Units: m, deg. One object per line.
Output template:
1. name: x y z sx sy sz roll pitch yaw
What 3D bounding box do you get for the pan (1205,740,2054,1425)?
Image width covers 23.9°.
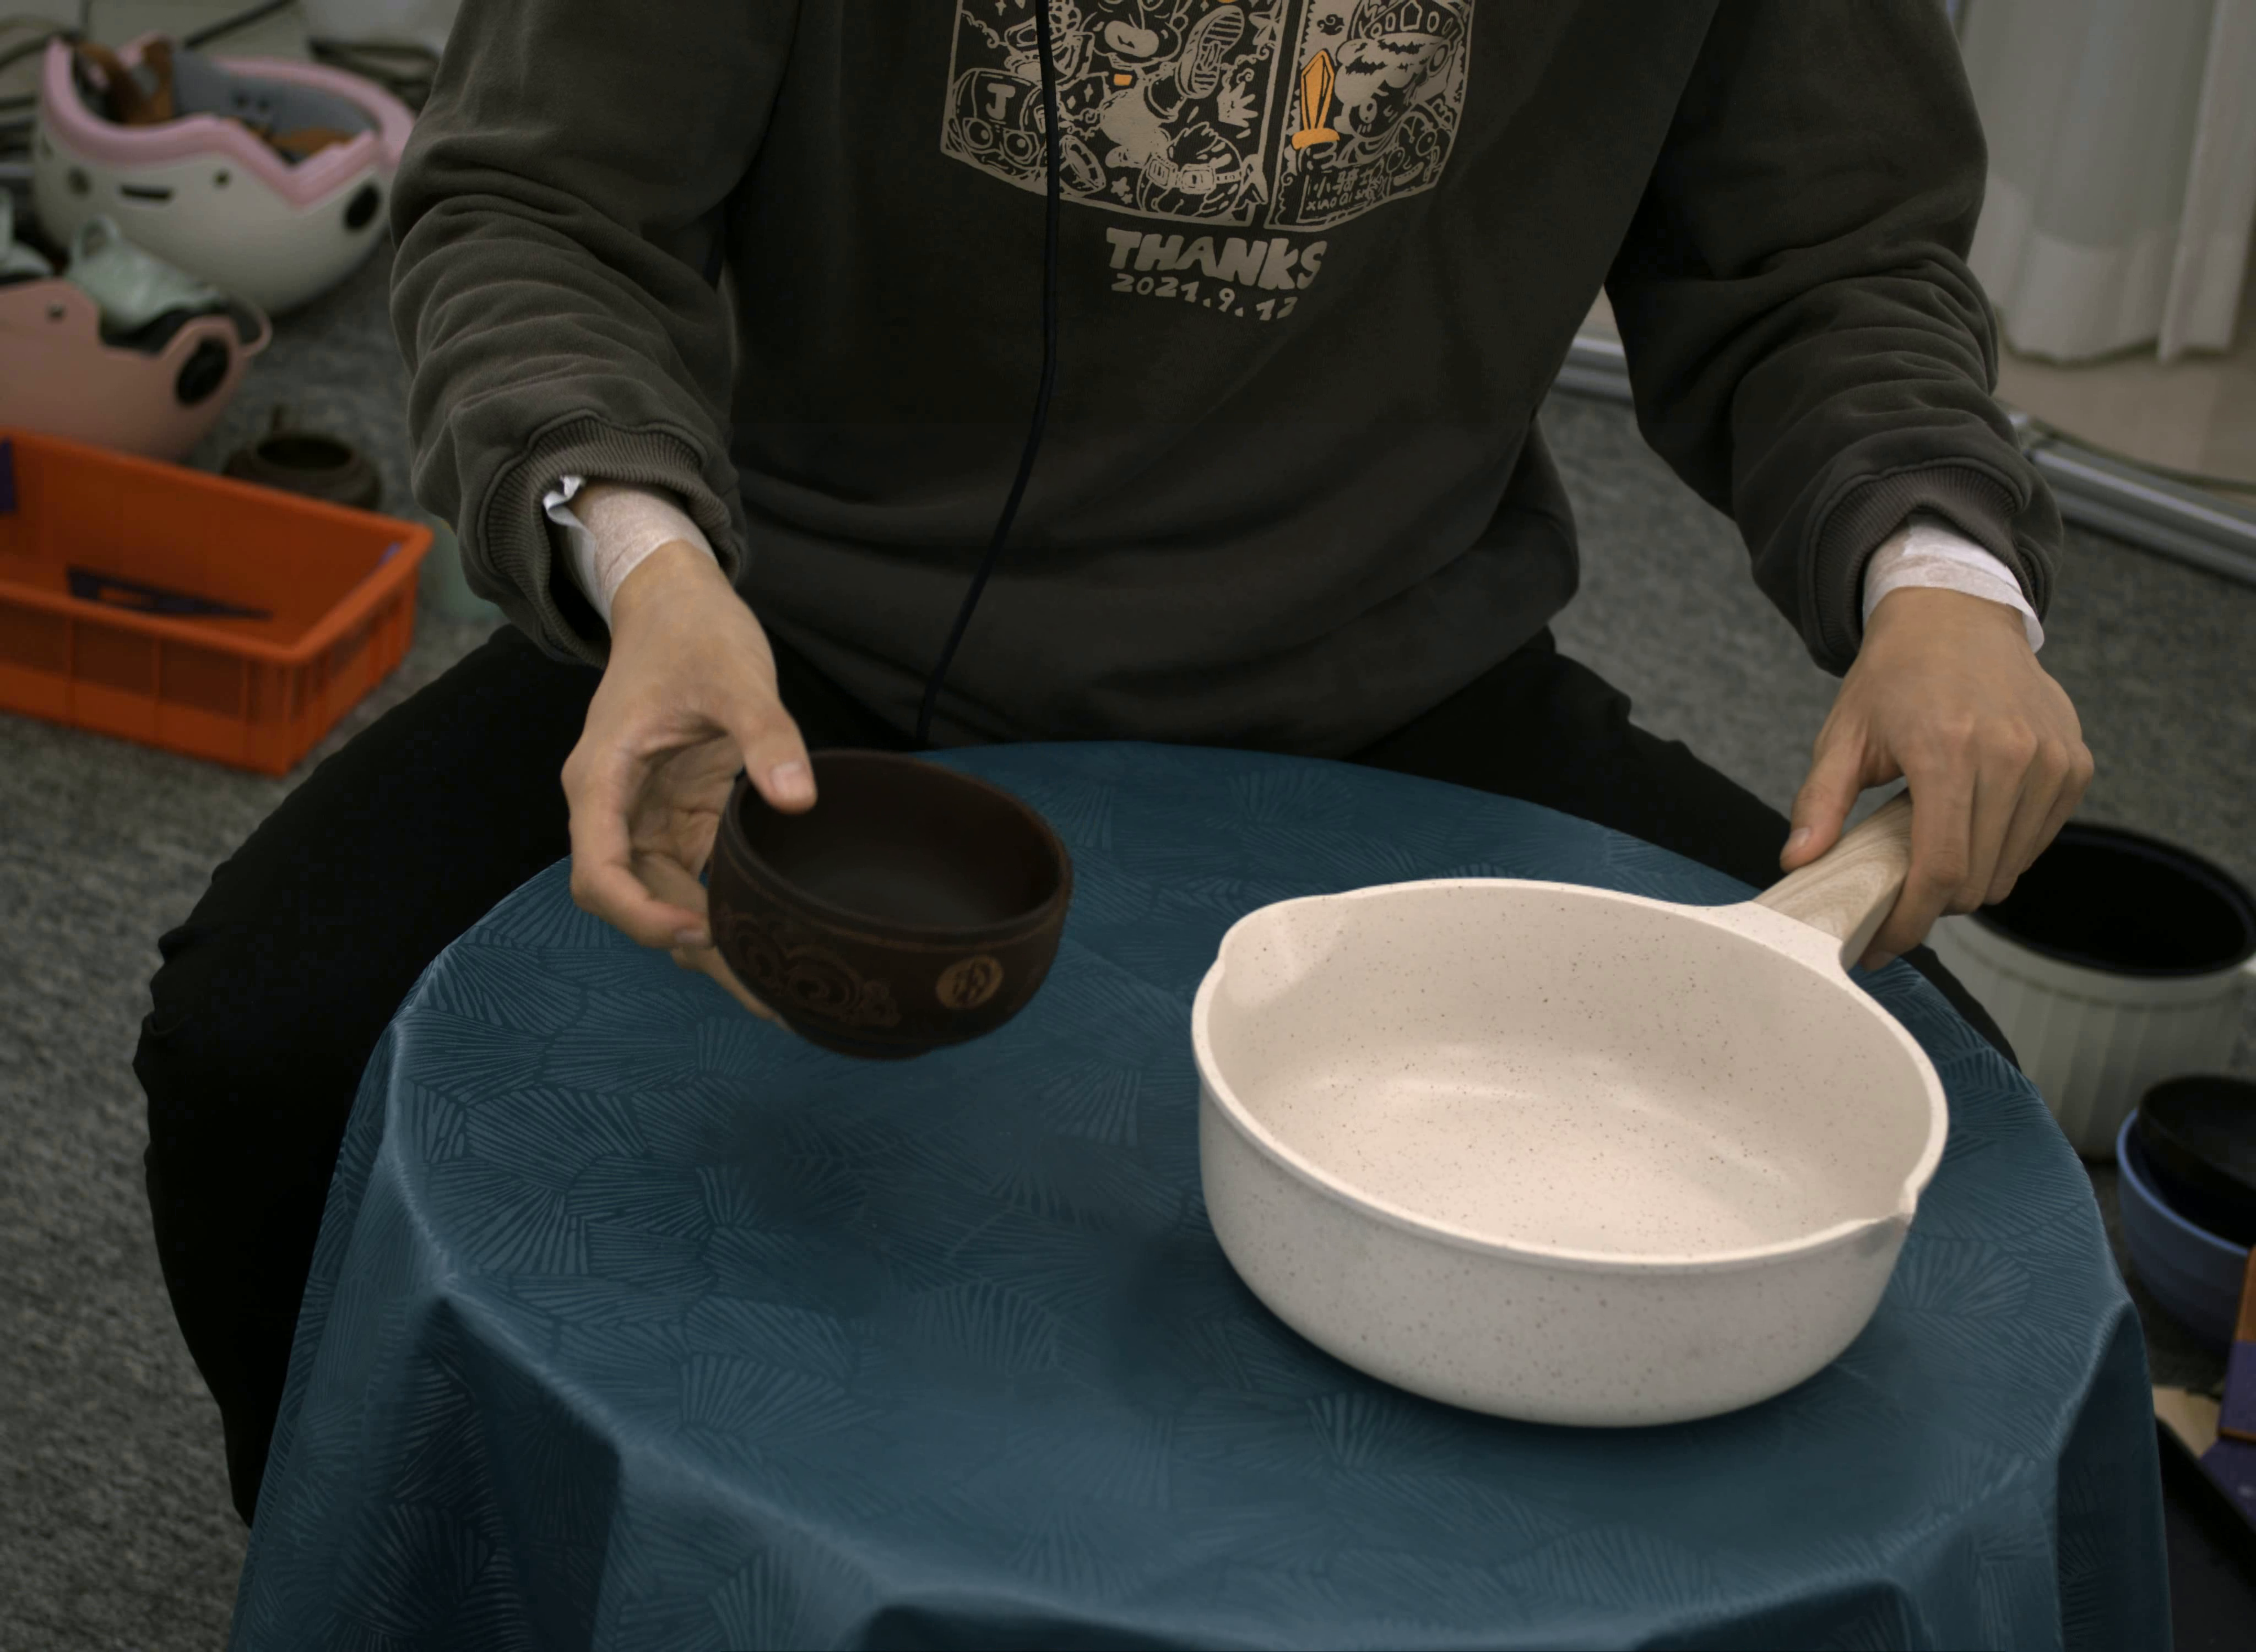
1. pan: 0.202 0.079 1.829 0.265 0.101 0.433 22 30 32

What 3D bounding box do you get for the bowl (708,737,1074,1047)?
1. bowl: -0.080 0.028 1.726 0.117 0.069 0.119 9 26 -5
